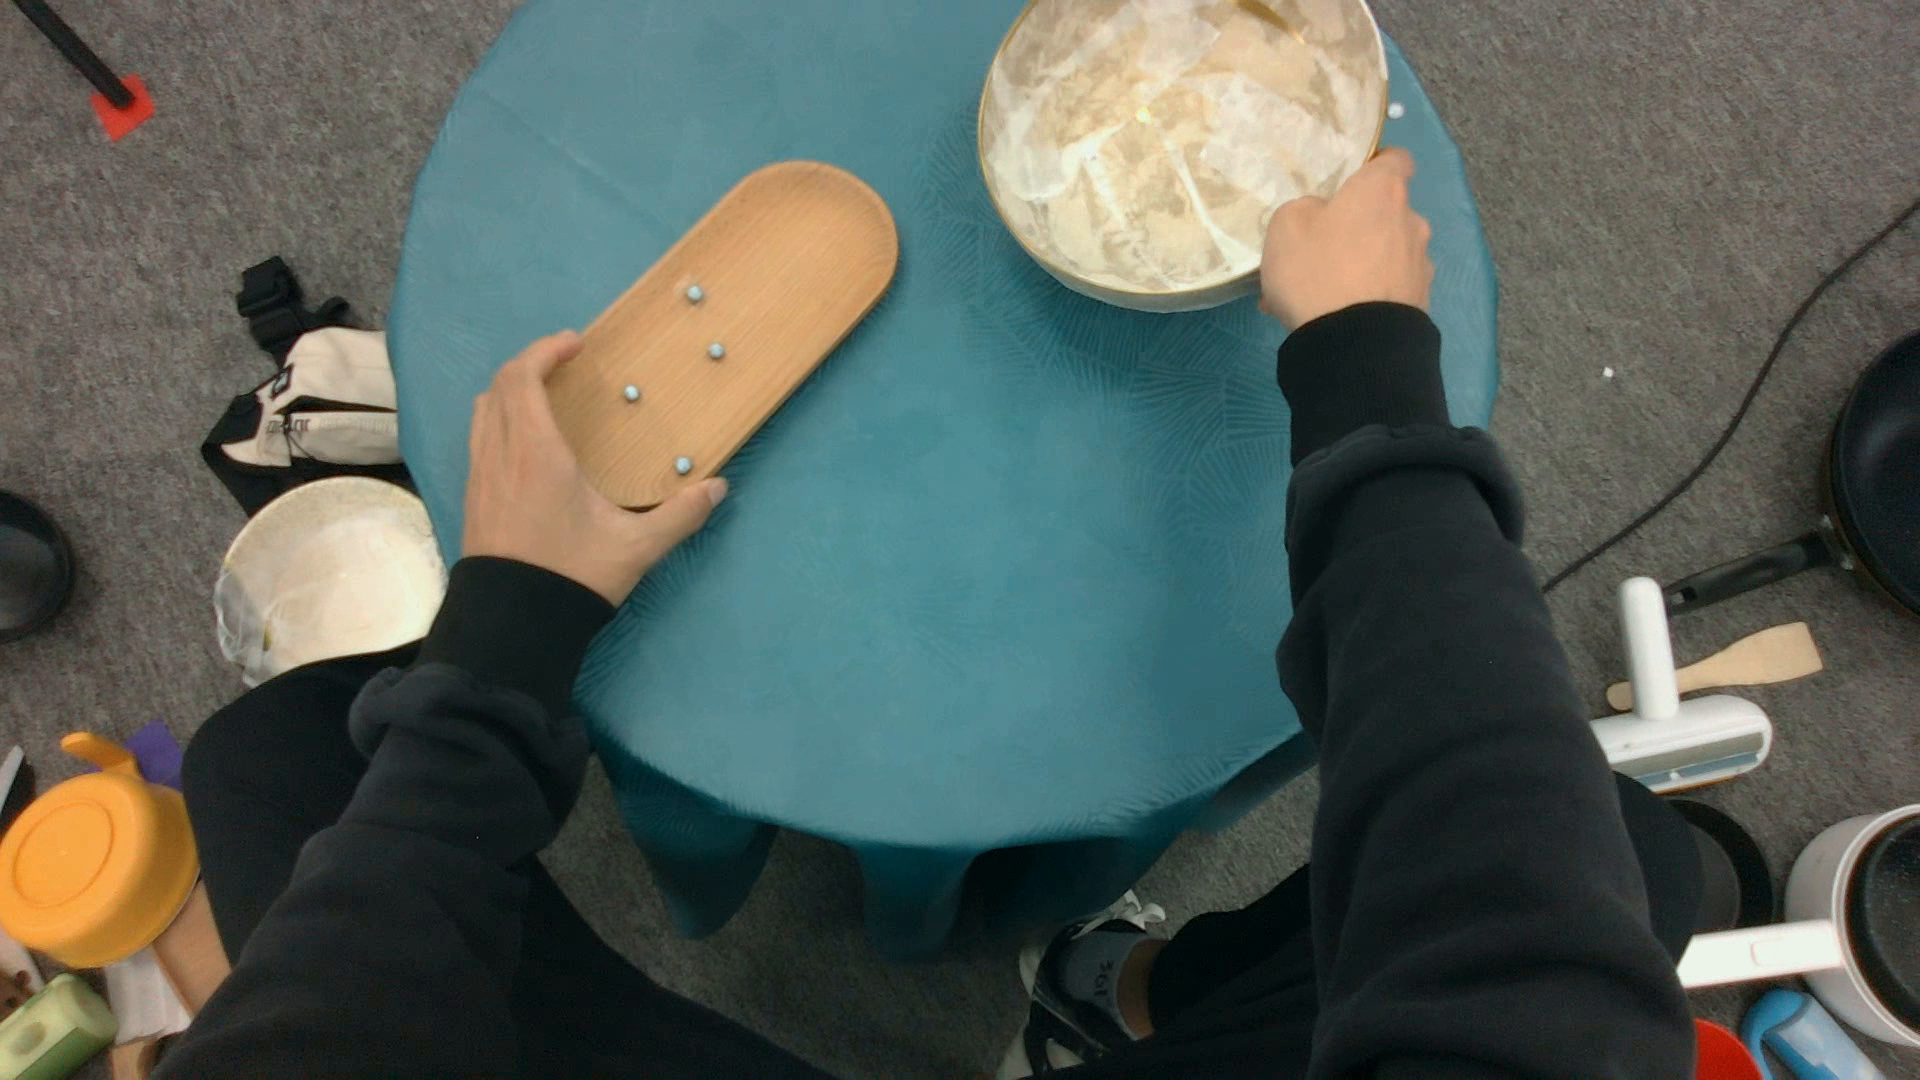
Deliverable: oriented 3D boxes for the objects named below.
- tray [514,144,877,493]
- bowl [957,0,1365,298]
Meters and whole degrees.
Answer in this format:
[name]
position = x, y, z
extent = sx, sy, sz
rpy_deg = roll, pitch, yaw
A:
[tray]
position = -0.135, -0.119, 0.722
extent = 0.101, 0.020, 0.232
rpy_deg = 37, 69, 5
[bowl]
position = 0.103, -0.211, 0.723
extent = 0.214, 0.094, 0.215
rpy_deg = -3, 77, 13
